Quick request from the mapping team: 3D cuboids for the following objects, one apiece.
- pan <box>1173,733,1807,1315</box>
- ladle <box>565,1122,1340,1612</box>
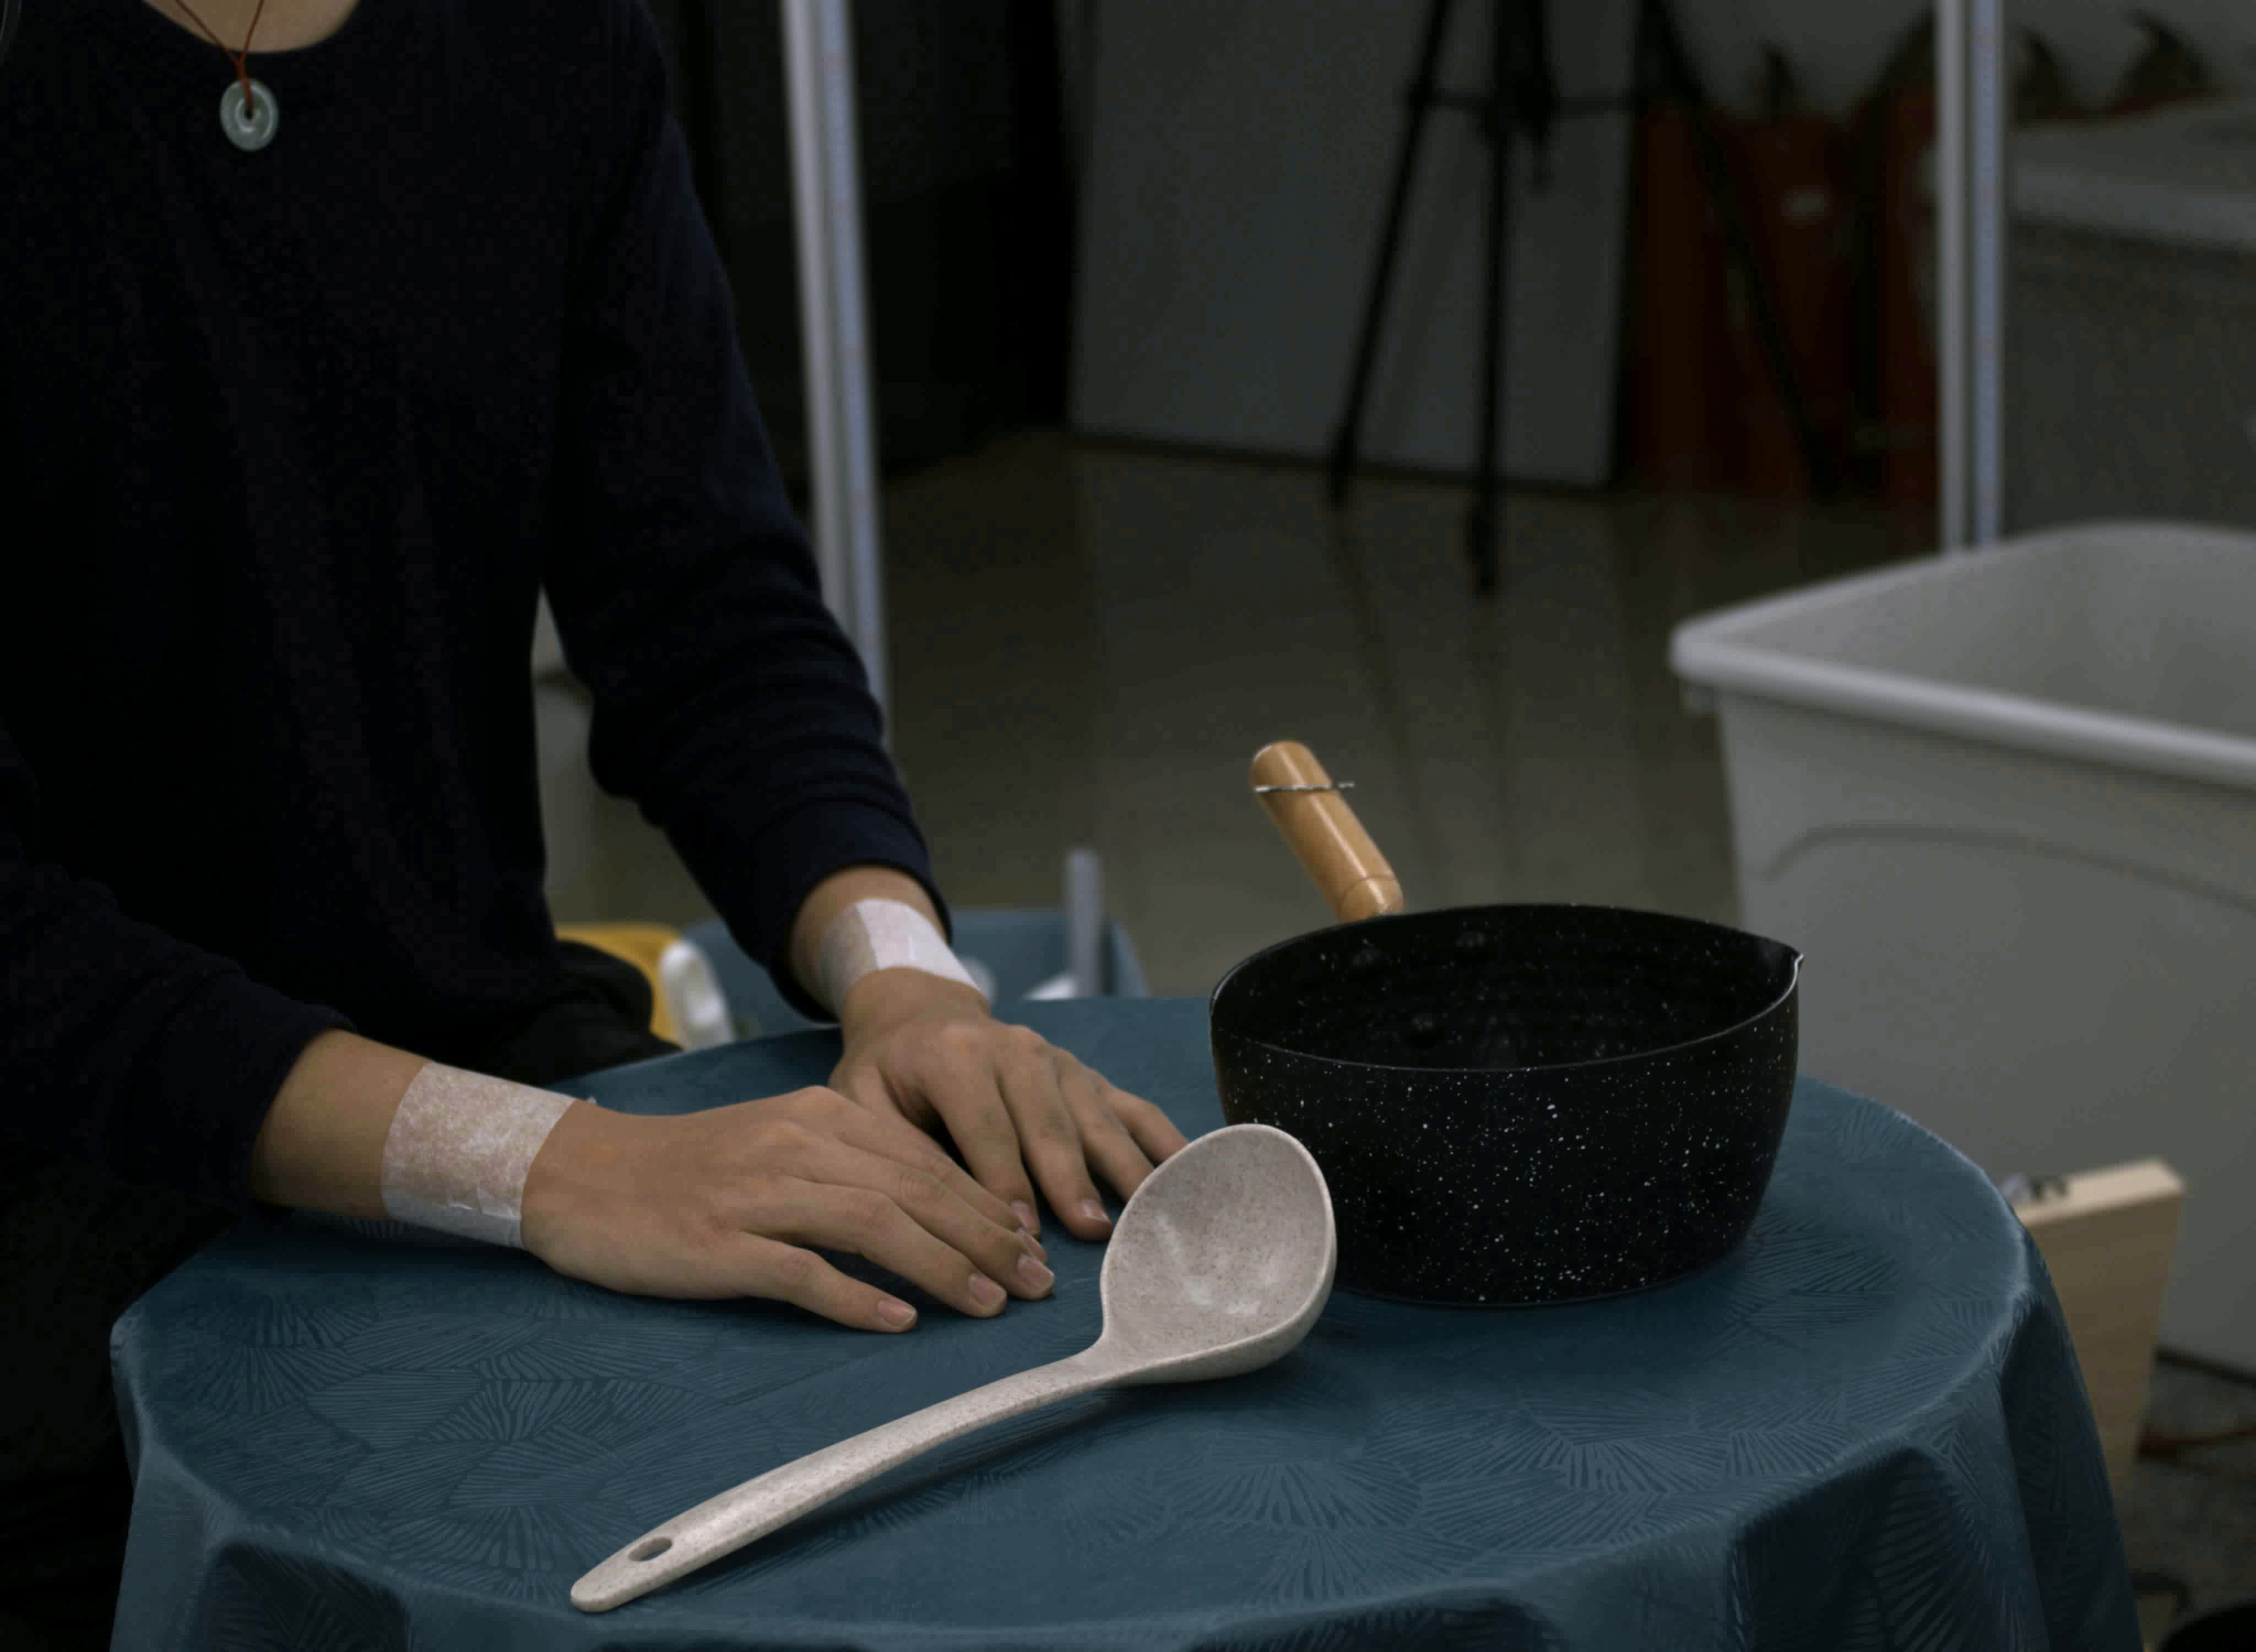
[{"bbox_3d":[0.097,0.059,1.764,0.203,0.109,0.345,-9,16,-14],"label":"pan"},{"bbox_3d":[-0.050,0.149,1.527,0.269,0.070,0.090,-16,21,-40],"label":"ladle"}]
